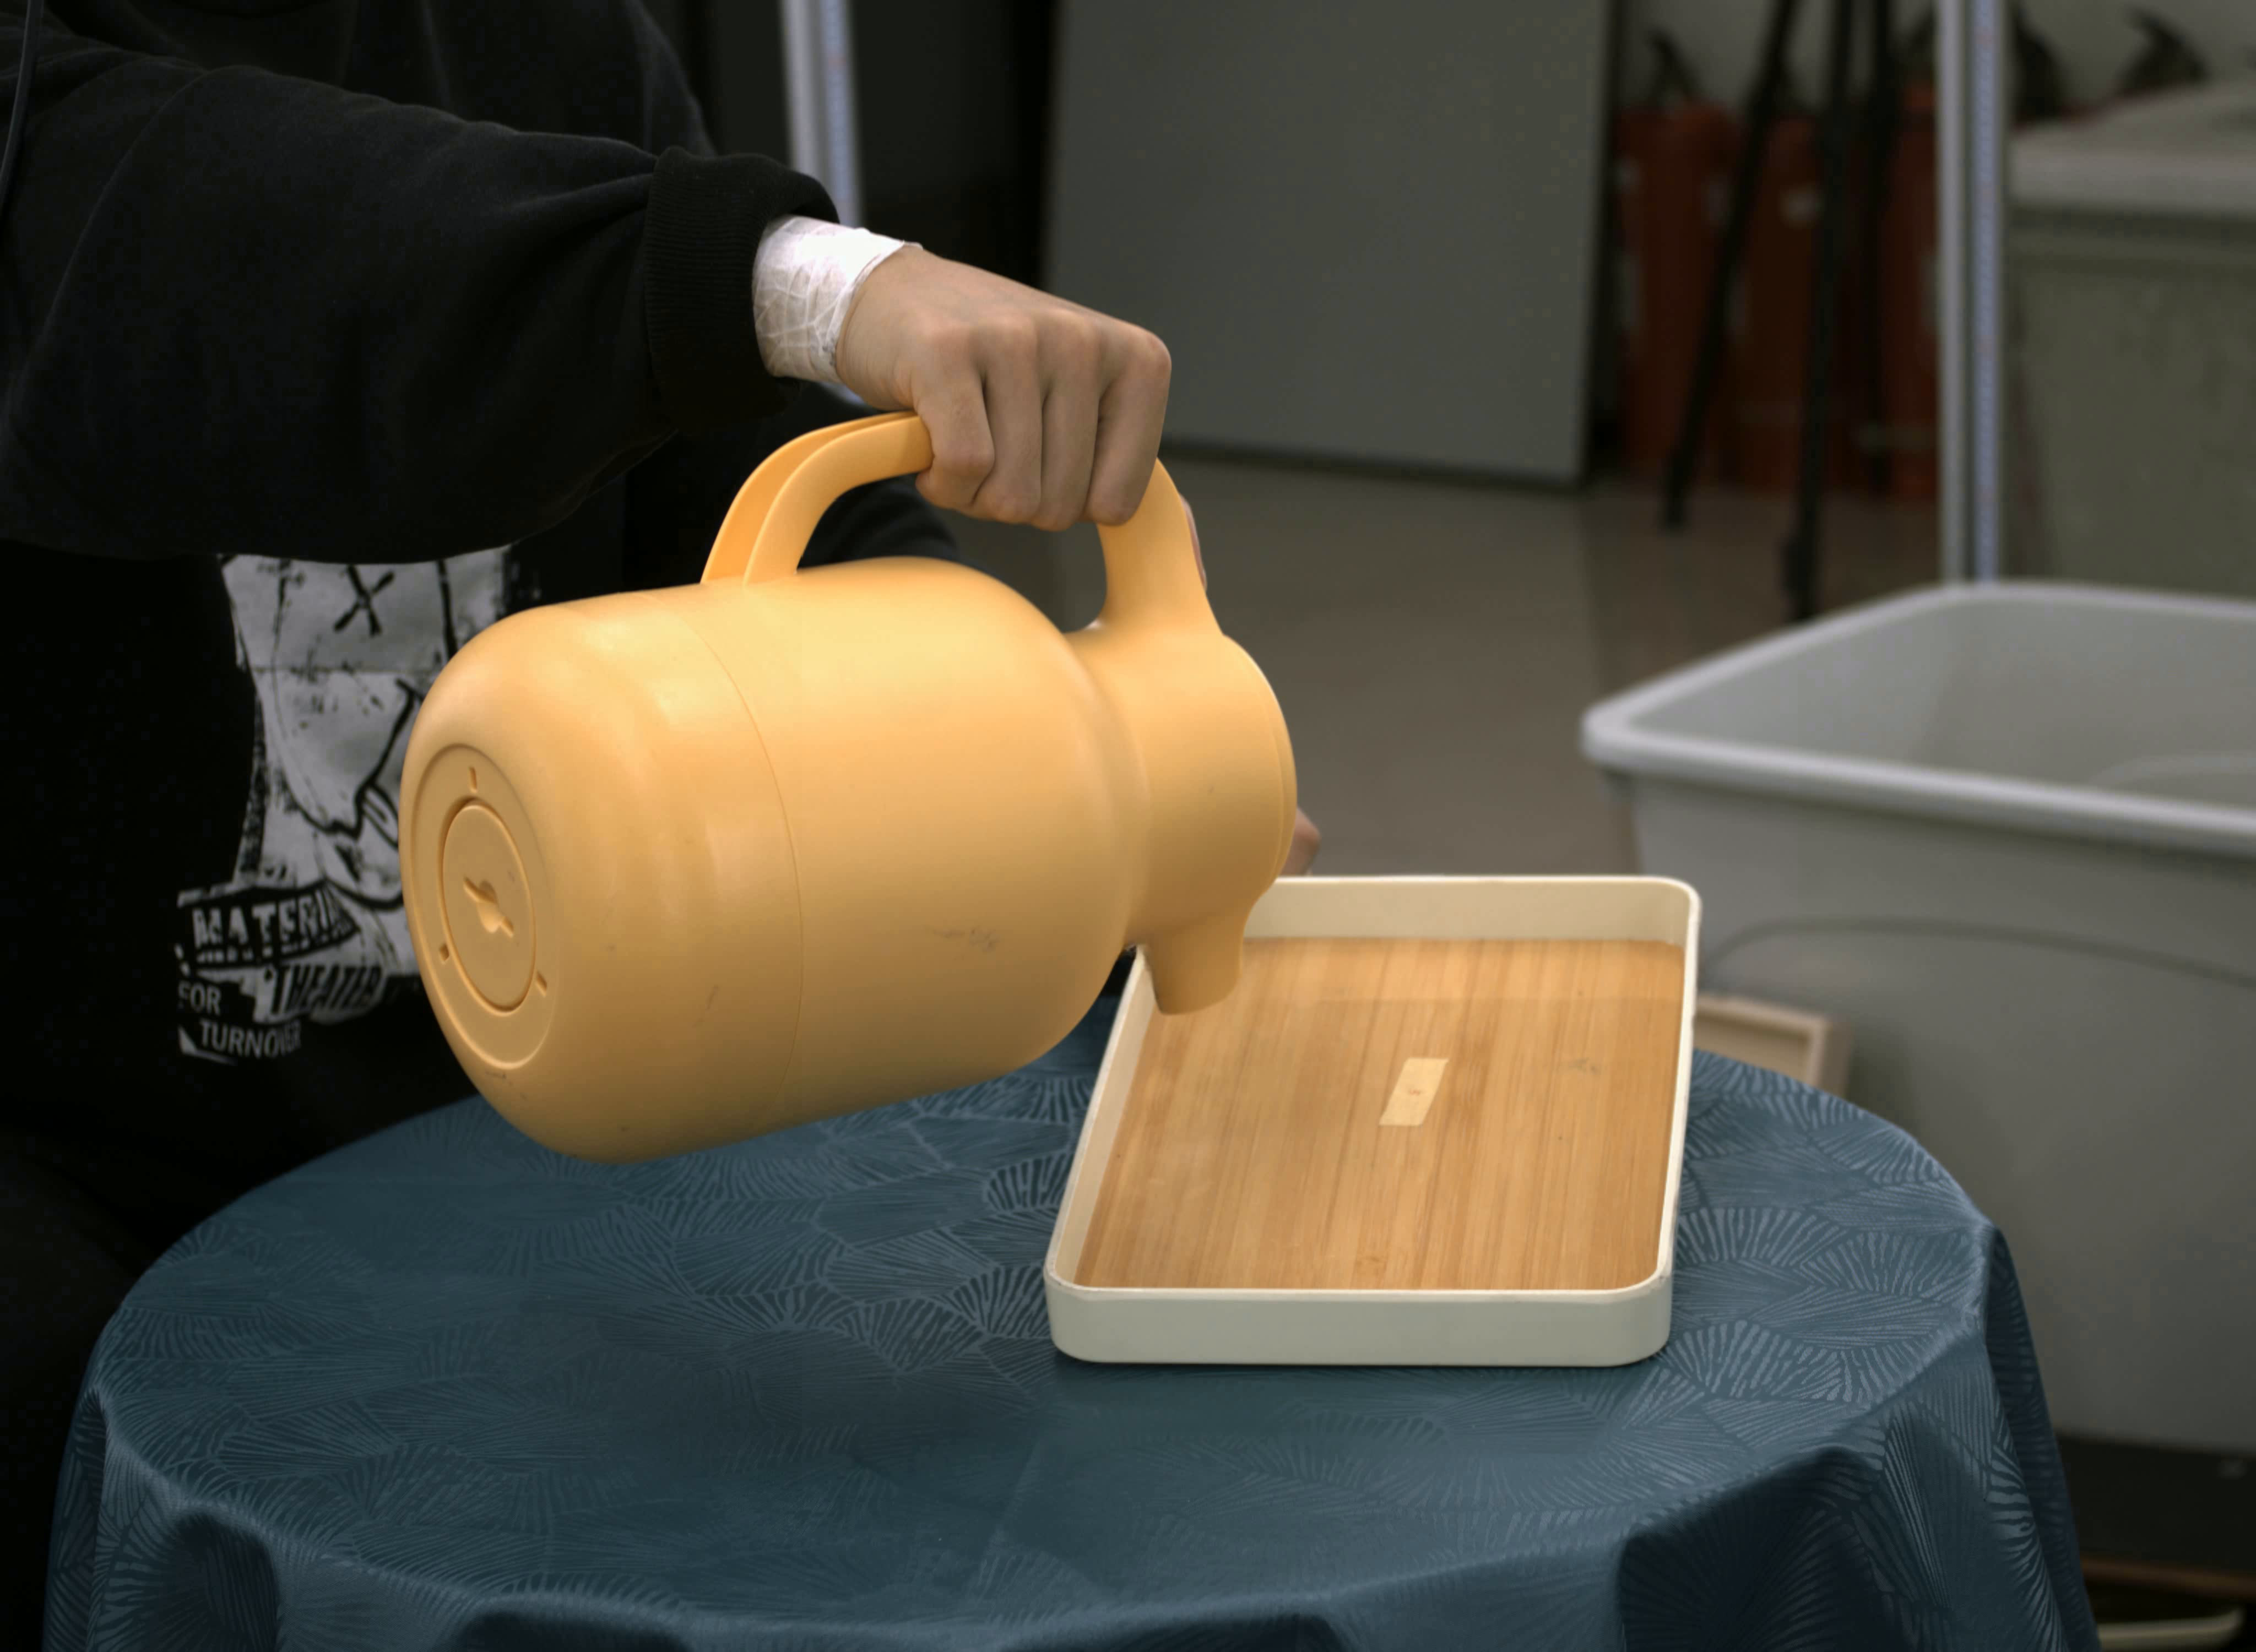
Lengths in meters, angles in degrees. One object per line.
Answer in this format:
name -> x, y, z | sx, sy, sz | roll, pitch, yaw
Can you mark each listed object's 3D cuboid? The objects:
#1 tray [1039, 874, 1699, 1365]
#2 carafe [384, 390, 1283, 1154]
tray -> 0.084, 0.089, 1.723 | 0.190, 0.027, 0.300 | -1, 23, 10
carafe -> -0.083, -0.021, 1.587 | 0.254, 0.205, 0.165 | -9, 4, -31
